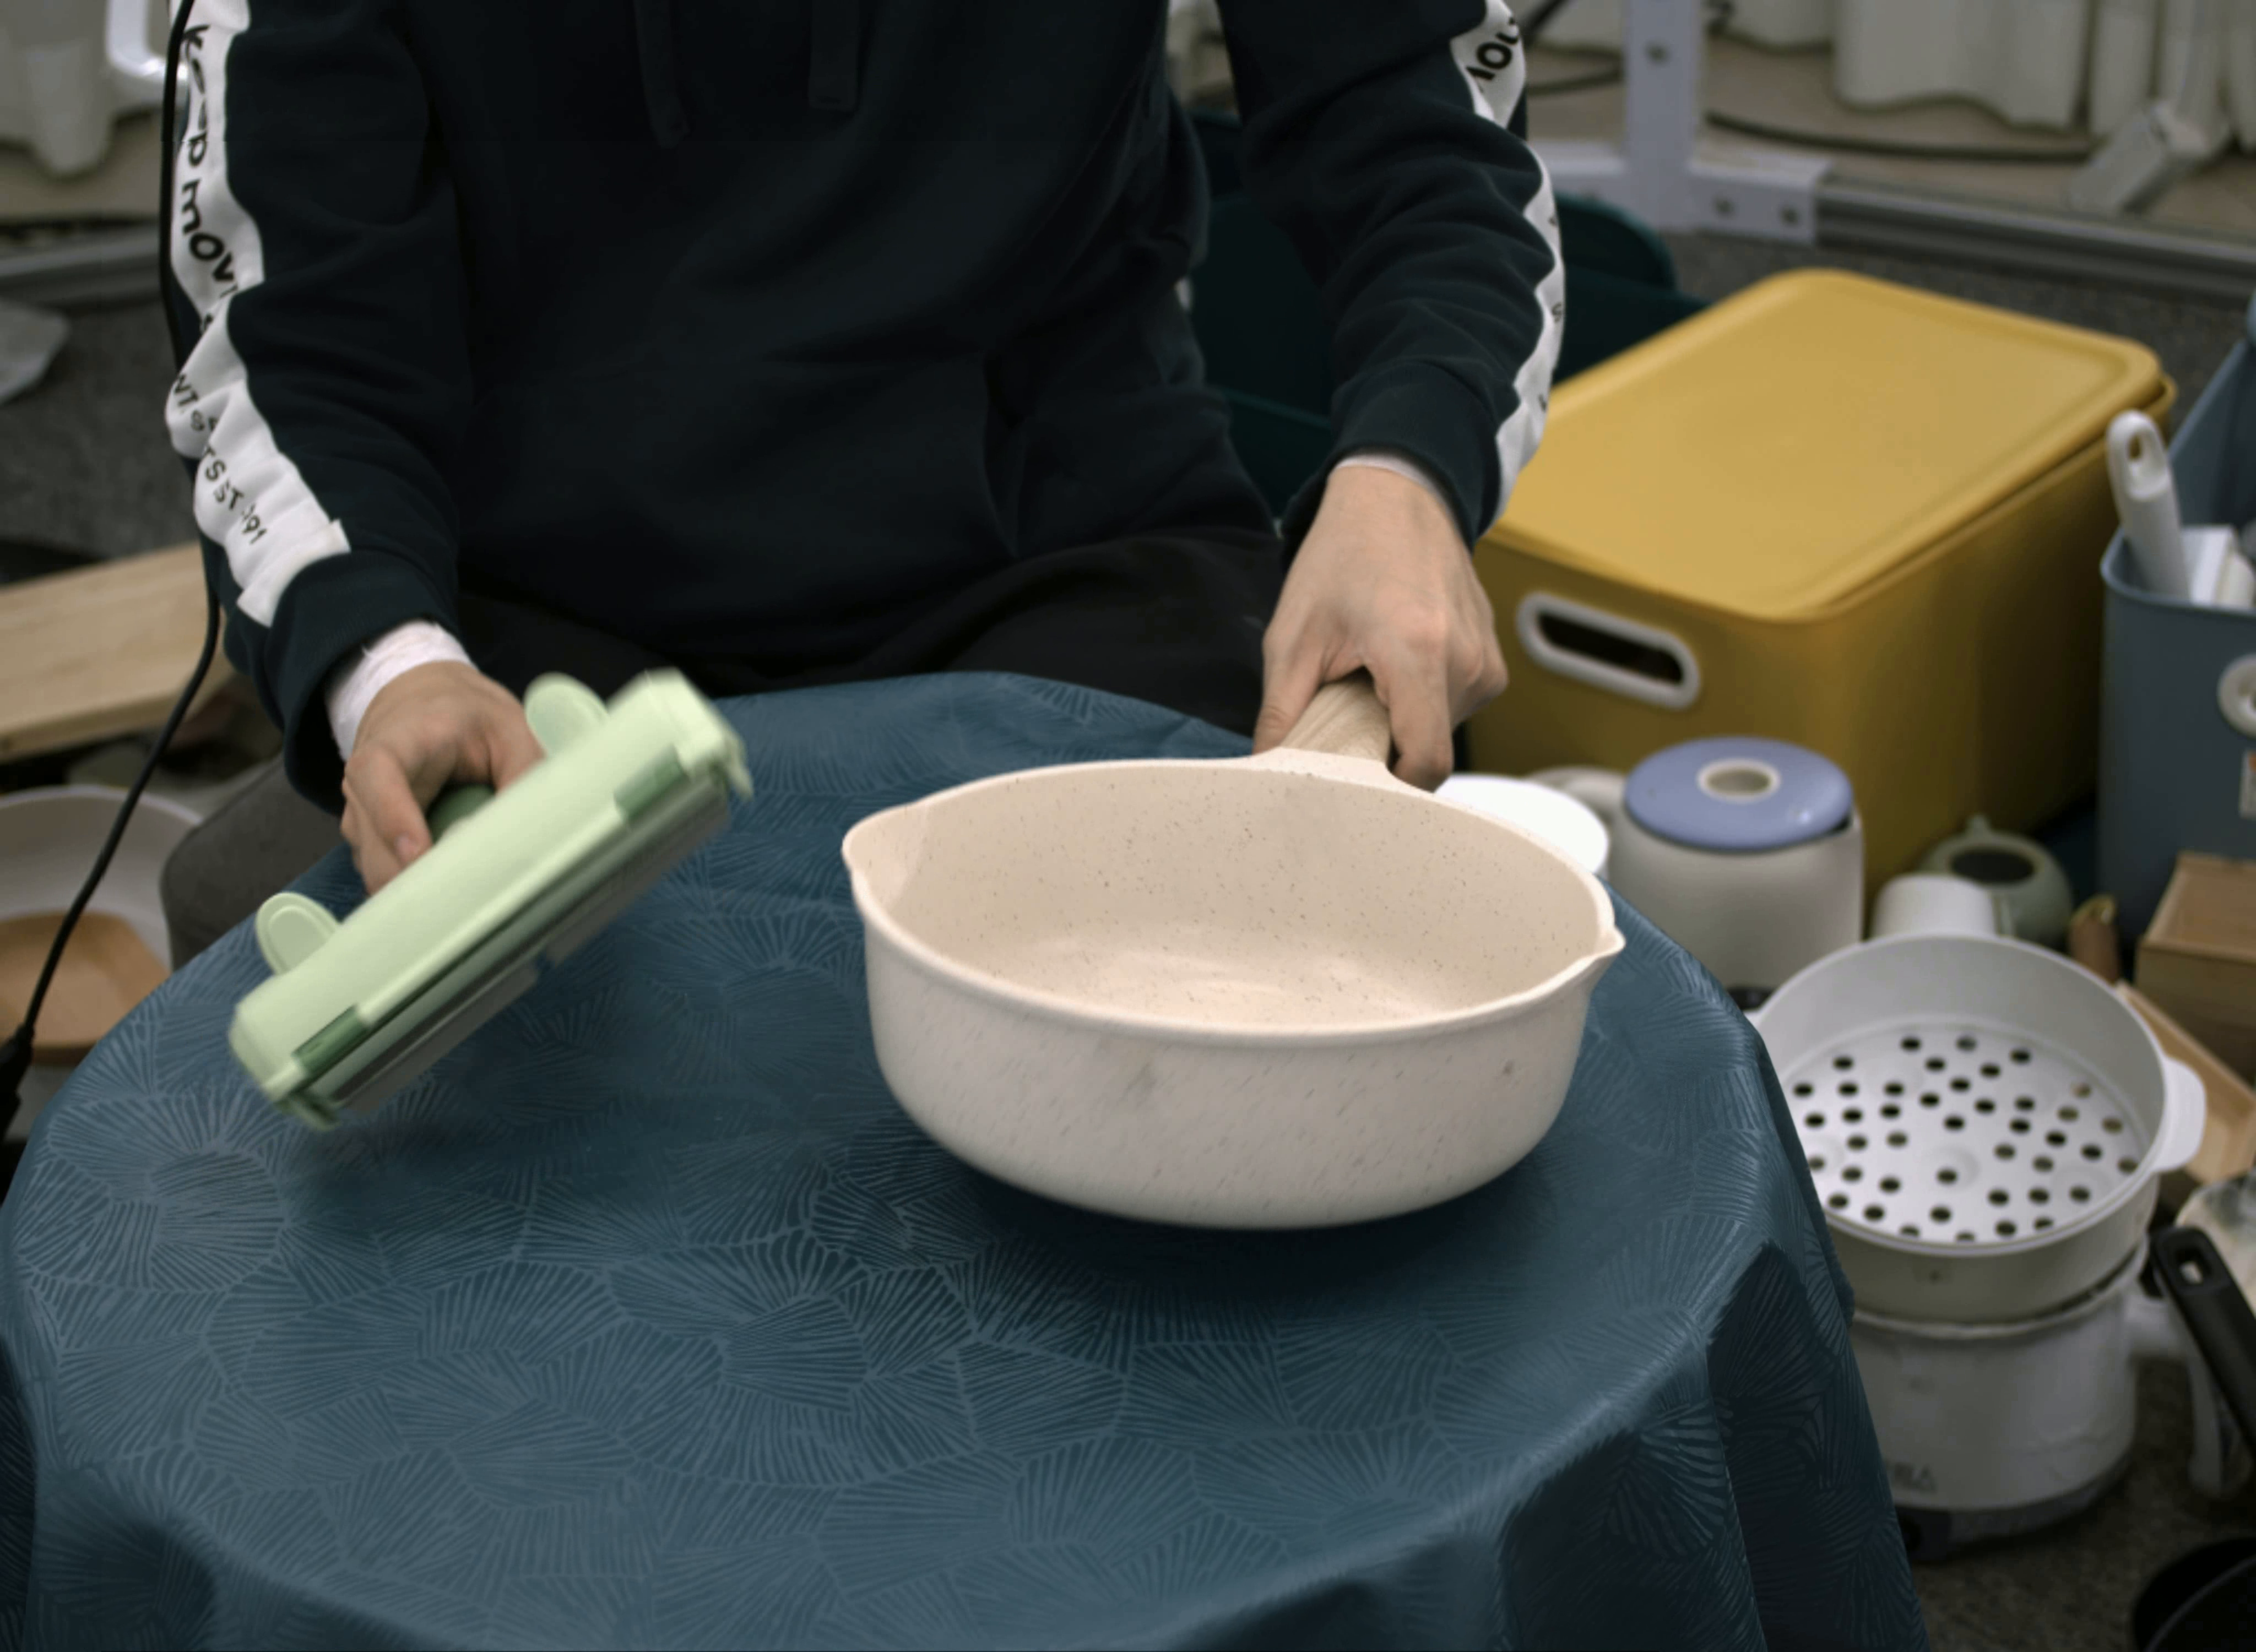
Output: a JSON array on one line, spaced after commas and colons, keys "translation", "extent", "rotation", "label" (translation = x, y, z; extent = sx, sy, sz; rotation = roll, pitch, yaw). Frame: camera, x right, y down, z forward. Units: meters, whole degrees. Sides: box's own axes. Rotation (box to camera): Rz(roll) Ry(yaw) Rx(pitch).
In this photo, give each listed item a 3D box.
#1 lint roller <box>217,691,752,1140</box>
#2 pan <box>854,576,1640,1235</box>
[{"translation": [-0.235, 0.004, 1.935], "extent": [0.198, 0.081, 0.185], "rotation": [-36, 28, -3], "label": "lint roller"}, {"translation": [0.061, 0.023, 1.936], "extent": [0.262, 0.101, 0.440], "rotation": [7, 20, 13], "label": "pan"}]
